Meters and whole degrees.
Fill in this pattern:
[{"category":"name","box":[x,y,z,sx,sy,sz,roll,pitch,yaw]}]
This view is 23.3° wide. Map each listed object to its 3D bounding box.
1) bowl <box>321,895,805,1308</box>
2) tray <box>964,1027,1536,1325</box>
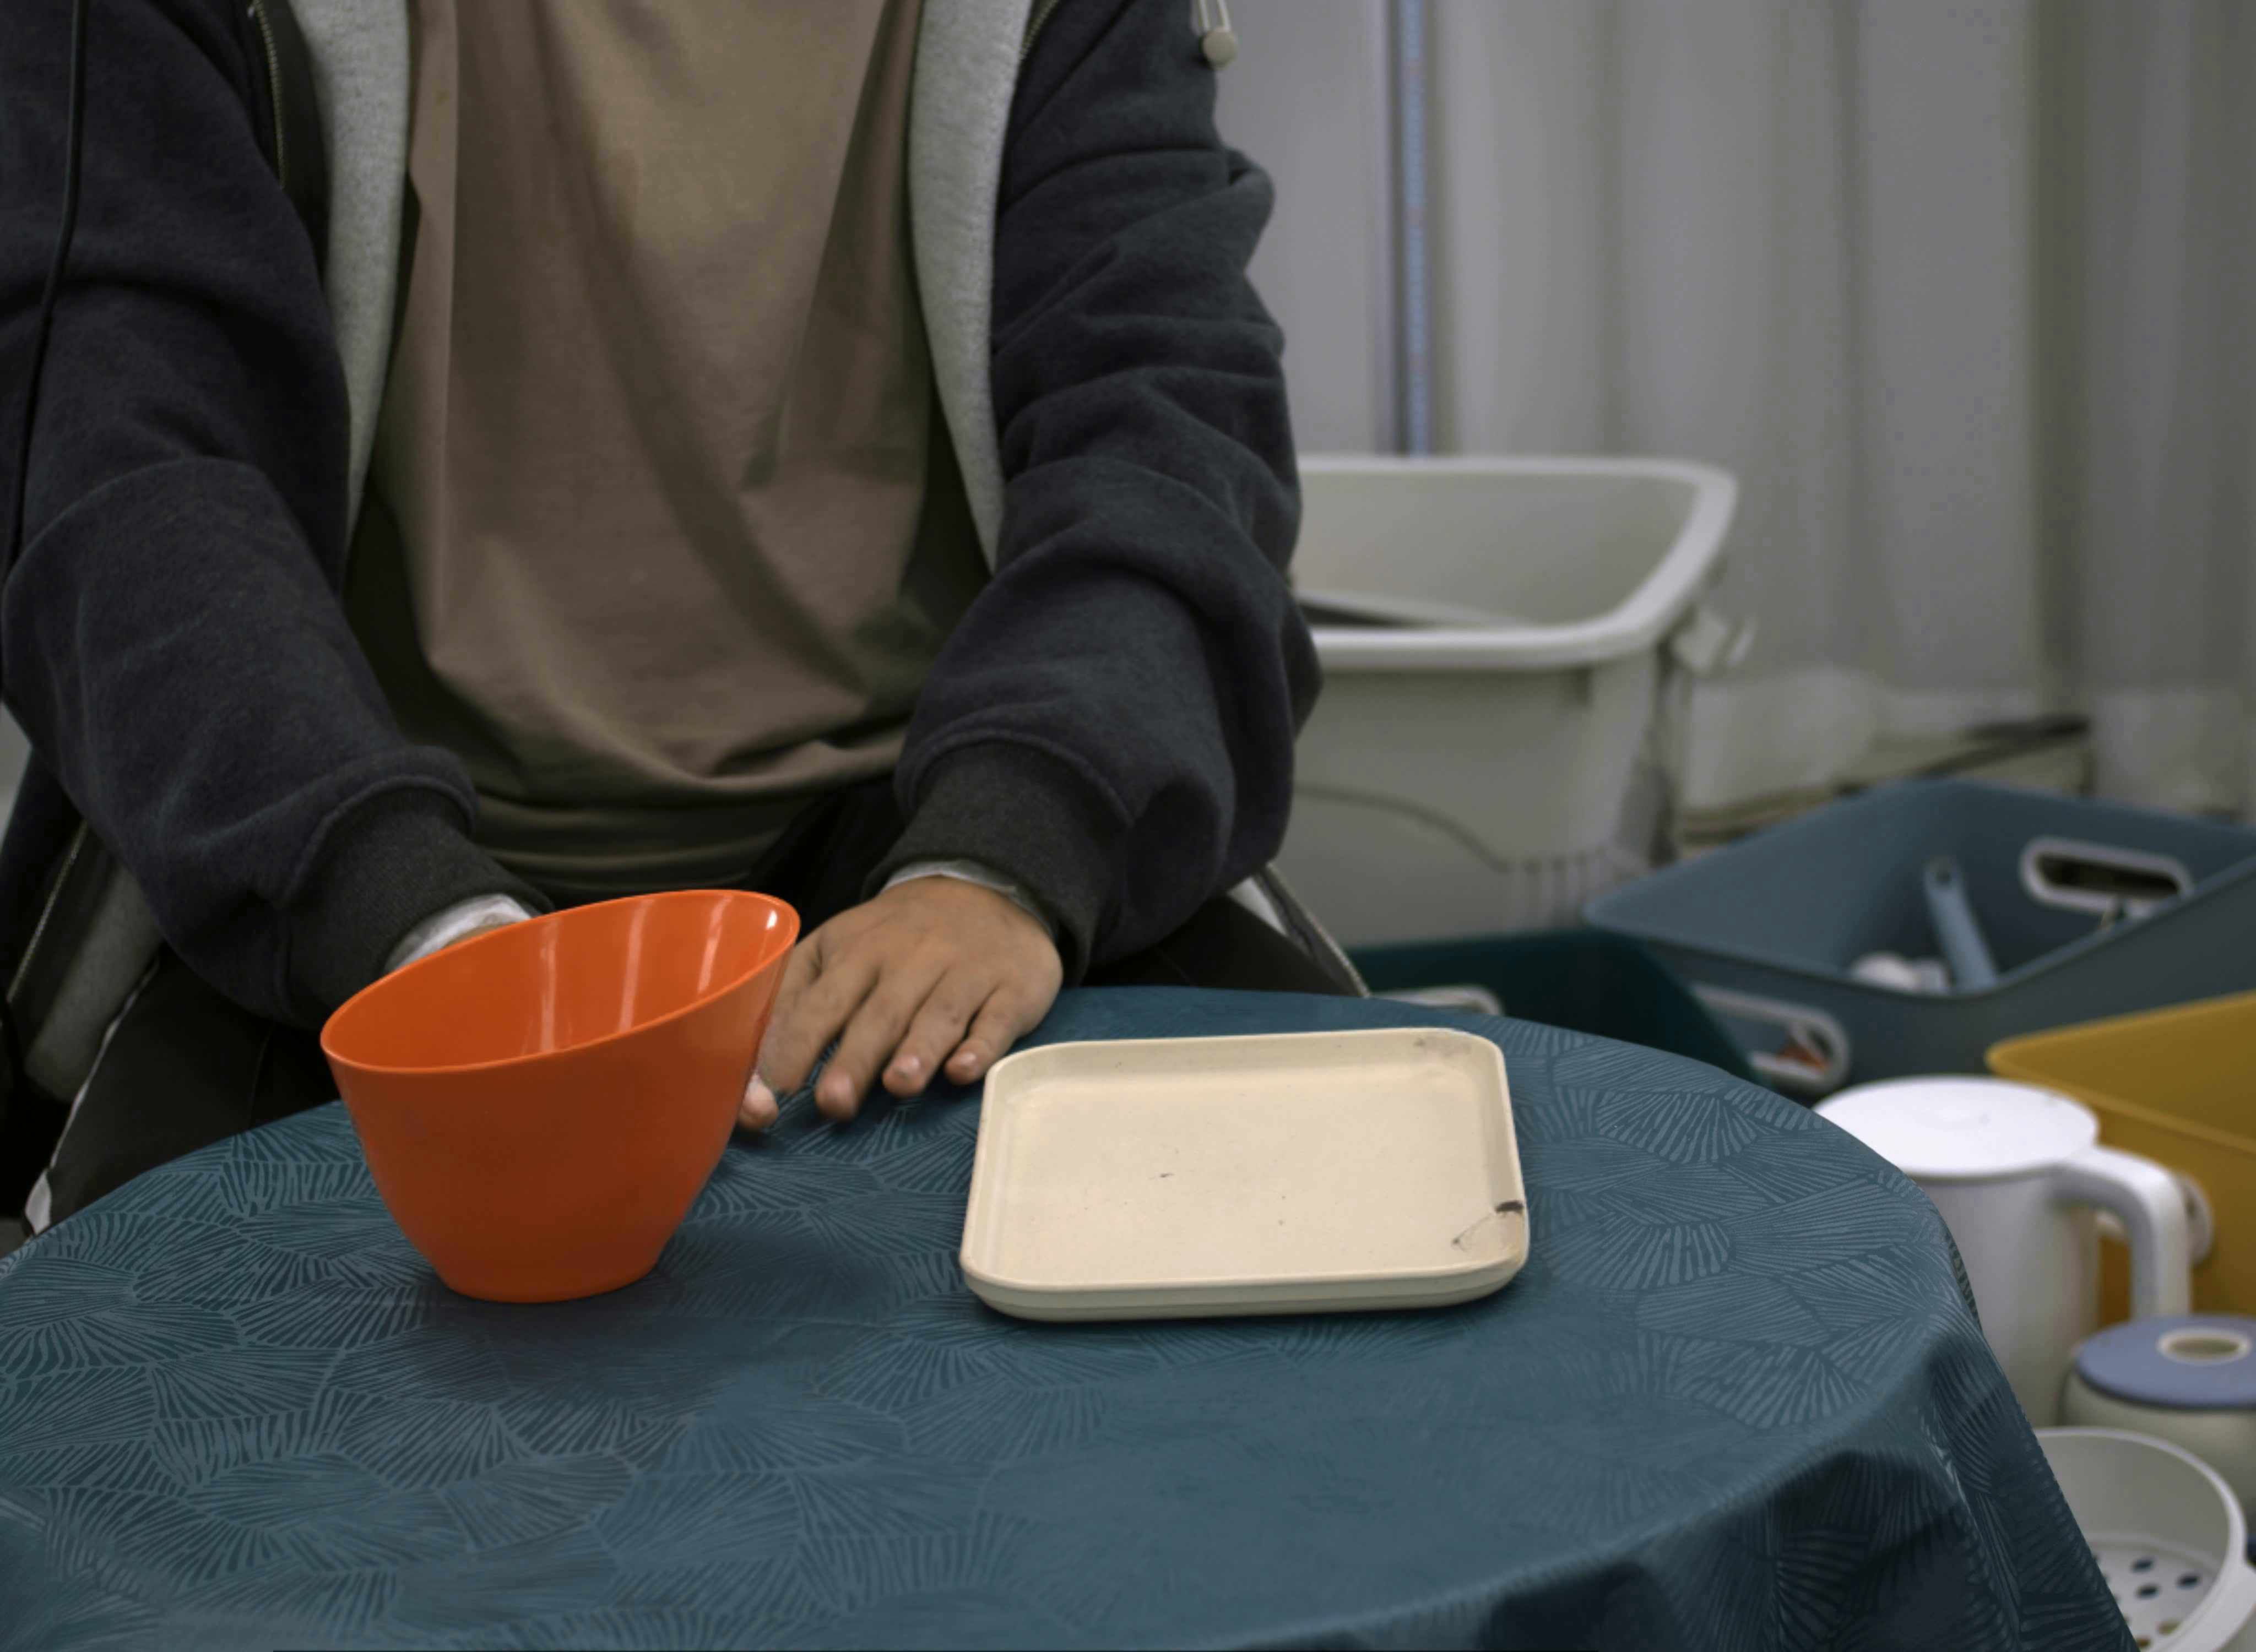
[{"category":"bowl","box":[-0.169,0.086,1.662,0.147,0.104,0.149,-2,16,0]},{"category":"tray","box":[0.037,0.108,1.701,0.171,0.017,0.241,-3,15,2]}]
